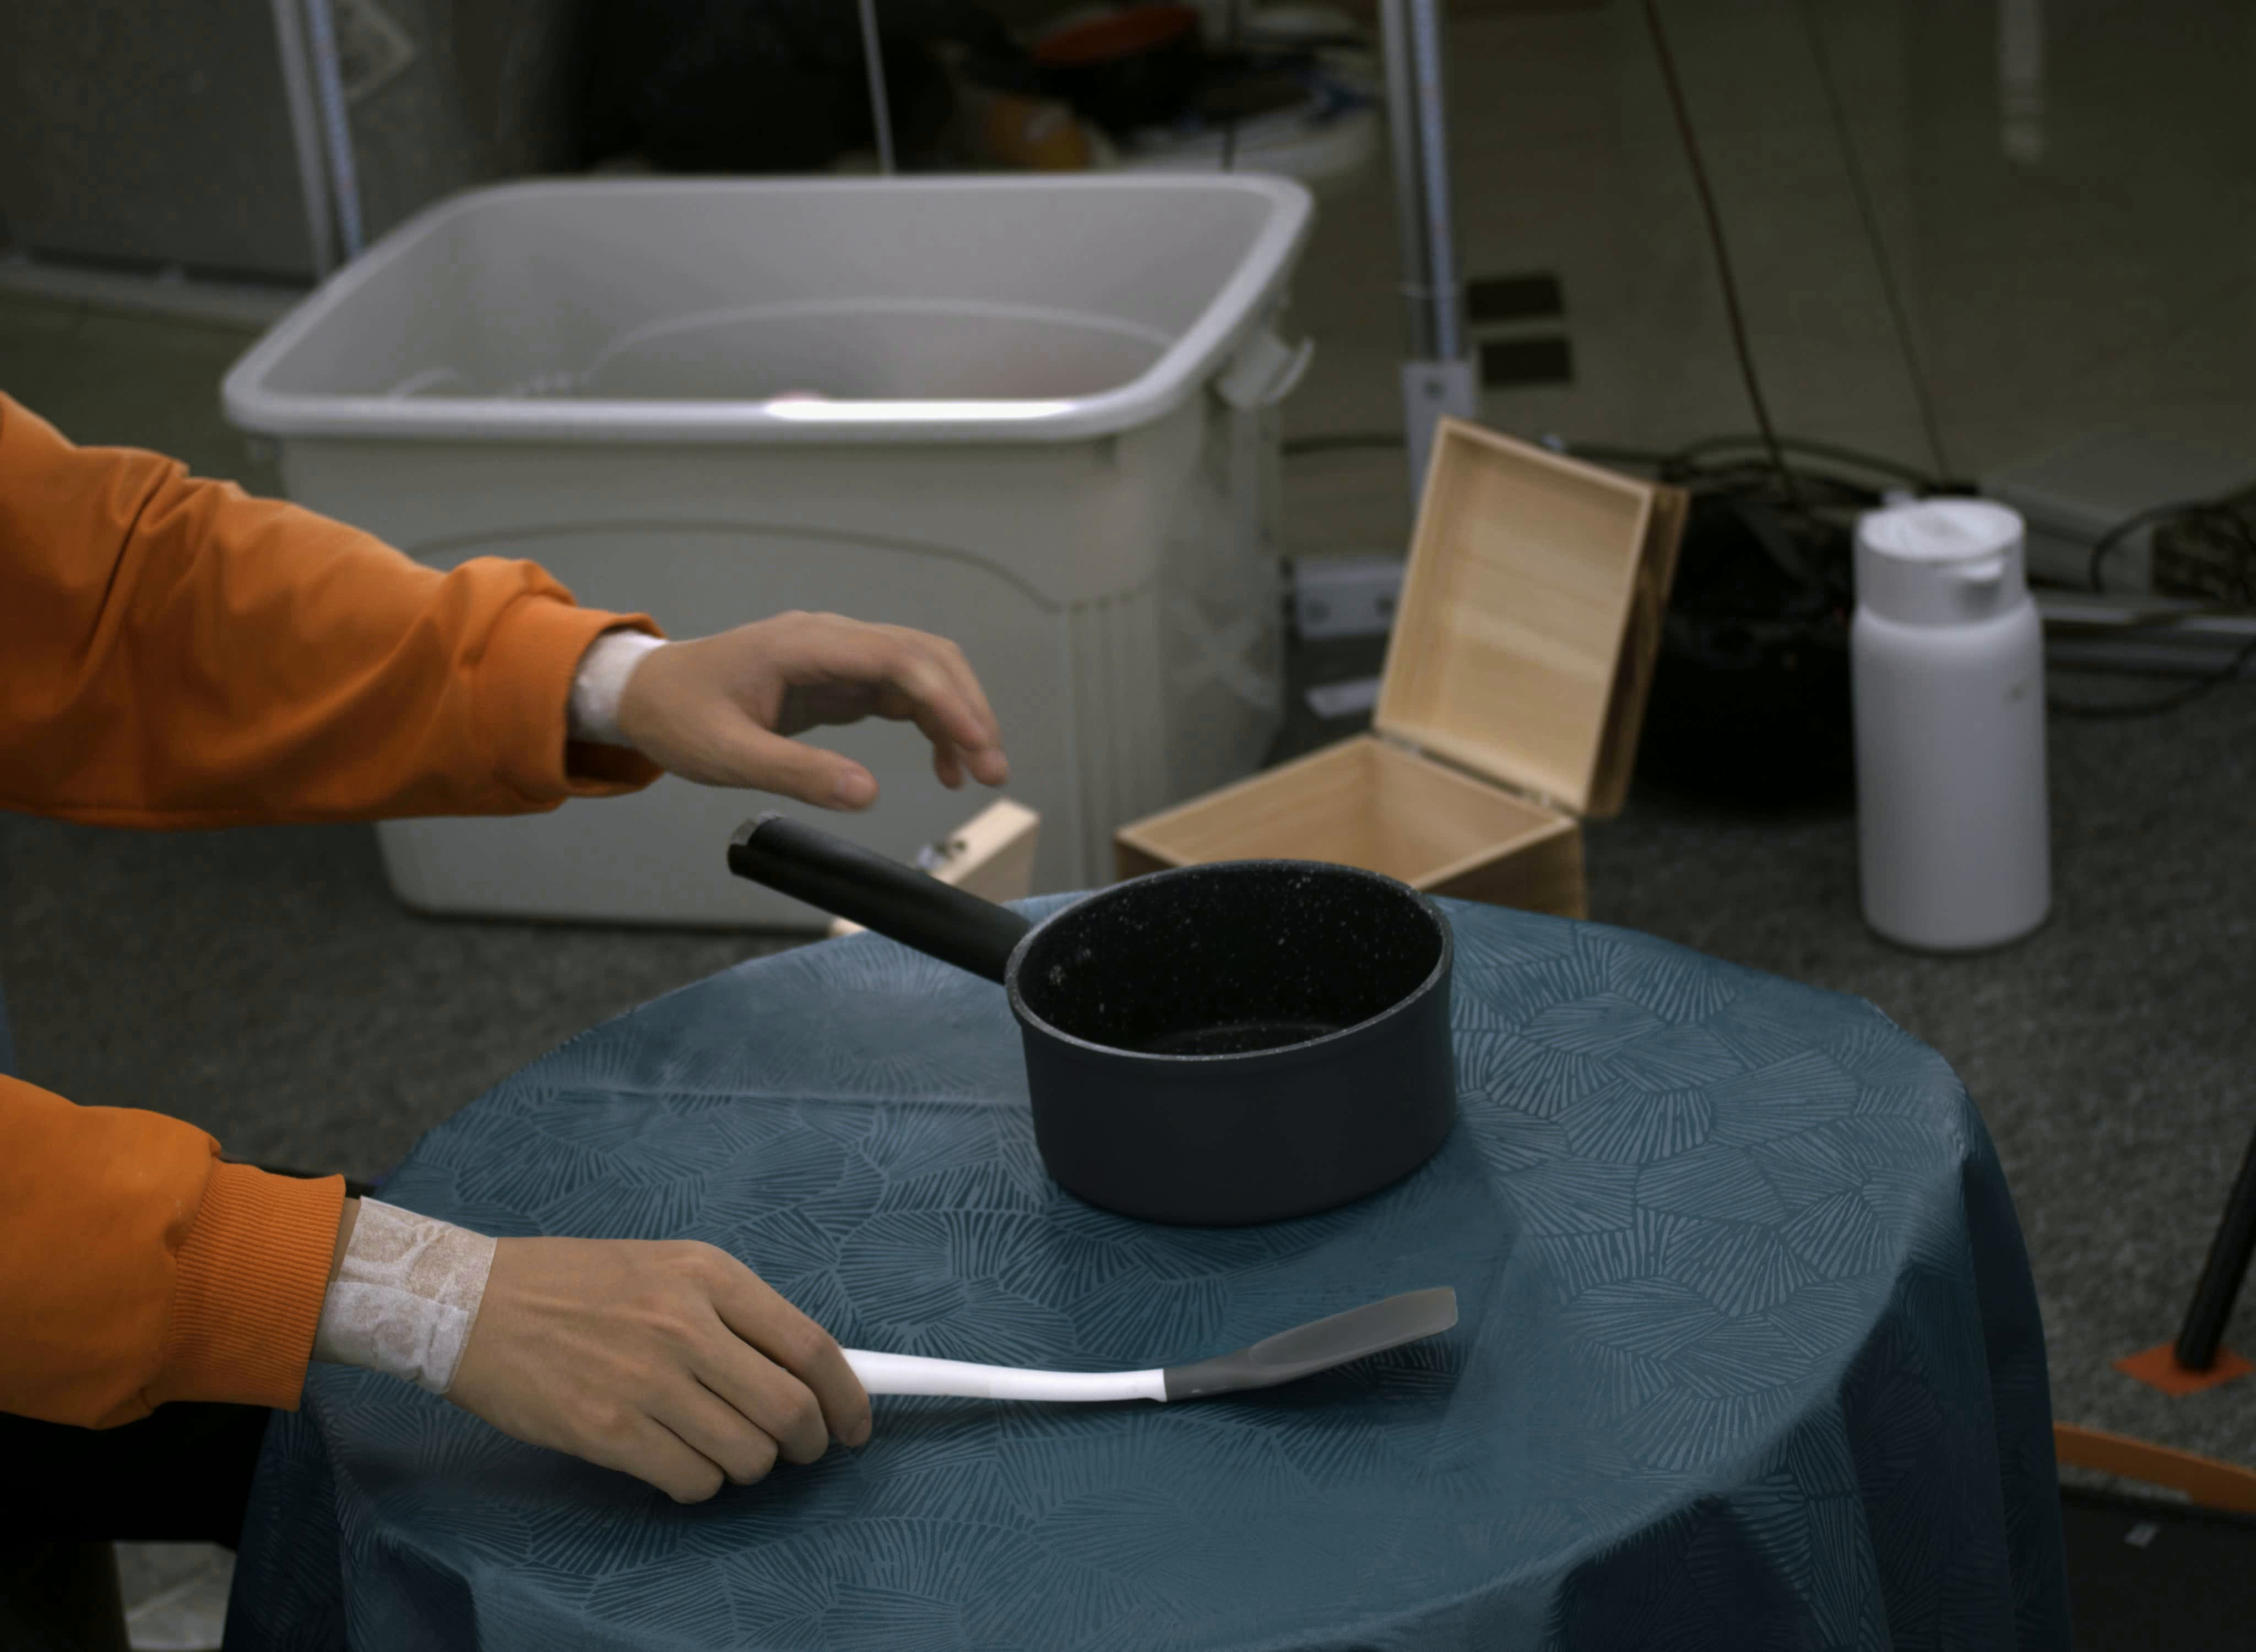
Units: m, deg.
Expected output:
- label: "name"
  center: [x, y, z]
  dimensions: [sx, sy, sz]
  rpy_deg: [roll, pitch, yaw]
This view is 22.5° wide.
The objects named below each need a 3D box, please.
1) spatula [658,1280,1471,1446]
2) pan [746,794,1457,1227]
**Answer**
- label: "spatula"
  center: [-0.022, 0.190, 2.002]
  dimensions: [0.287, 0.032, 0.058]
  rpy_deg: [-5, 10, 2]
- label: "pan"
  center: [-0.020, 0.064, 2.211]
  dimensions: [0.326, 0.088, 0.170]
  rpy_deg: [16, 32, 37]
